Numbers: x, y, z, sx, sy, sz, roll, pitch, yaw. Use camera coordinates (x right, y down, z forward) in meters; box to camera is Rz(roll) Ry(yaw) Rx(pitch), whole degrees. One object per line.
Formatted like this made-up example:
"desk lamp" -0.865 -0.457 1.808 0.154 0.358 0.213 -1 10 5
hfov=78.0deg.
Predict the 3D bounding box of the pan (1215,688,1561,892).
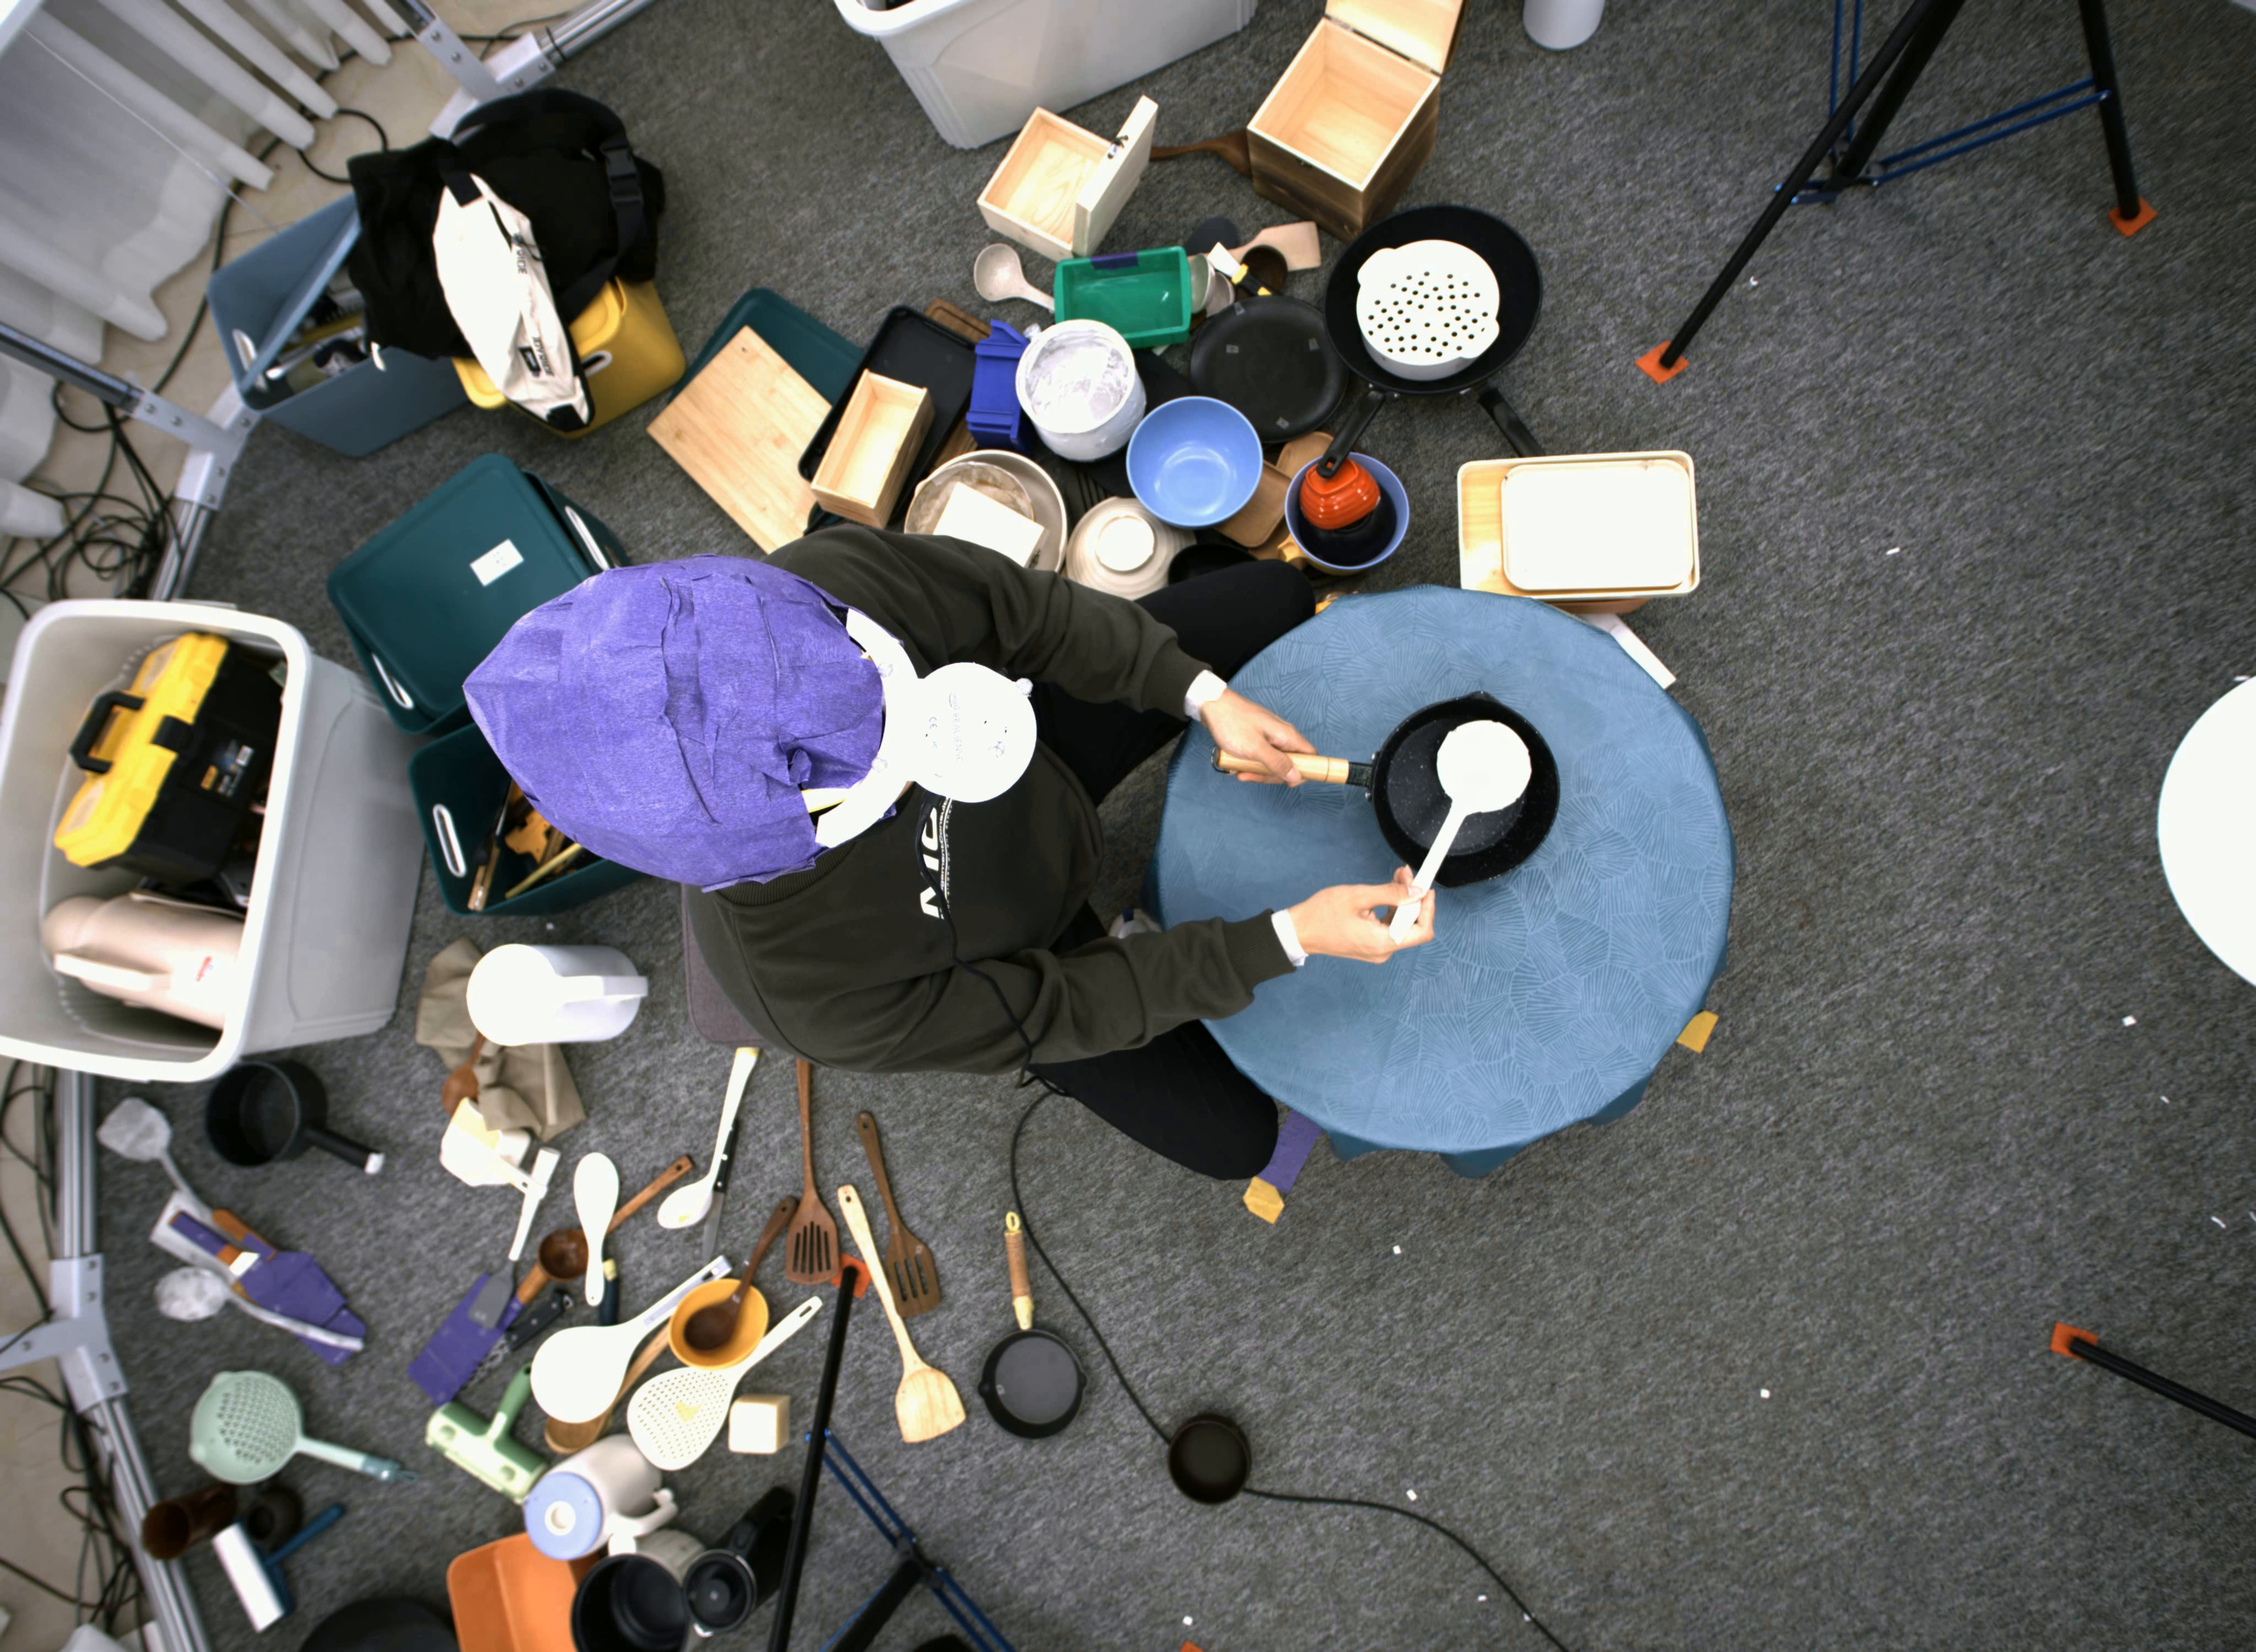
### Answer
"pan" 0.258 -0.049 1.395 0.343 0.107 0.209 8 100 5

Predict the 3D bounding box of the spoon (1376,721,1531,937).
"spoon" 0.302 -0.003 1.319 0.100 0.061 0.271 32 53 12
